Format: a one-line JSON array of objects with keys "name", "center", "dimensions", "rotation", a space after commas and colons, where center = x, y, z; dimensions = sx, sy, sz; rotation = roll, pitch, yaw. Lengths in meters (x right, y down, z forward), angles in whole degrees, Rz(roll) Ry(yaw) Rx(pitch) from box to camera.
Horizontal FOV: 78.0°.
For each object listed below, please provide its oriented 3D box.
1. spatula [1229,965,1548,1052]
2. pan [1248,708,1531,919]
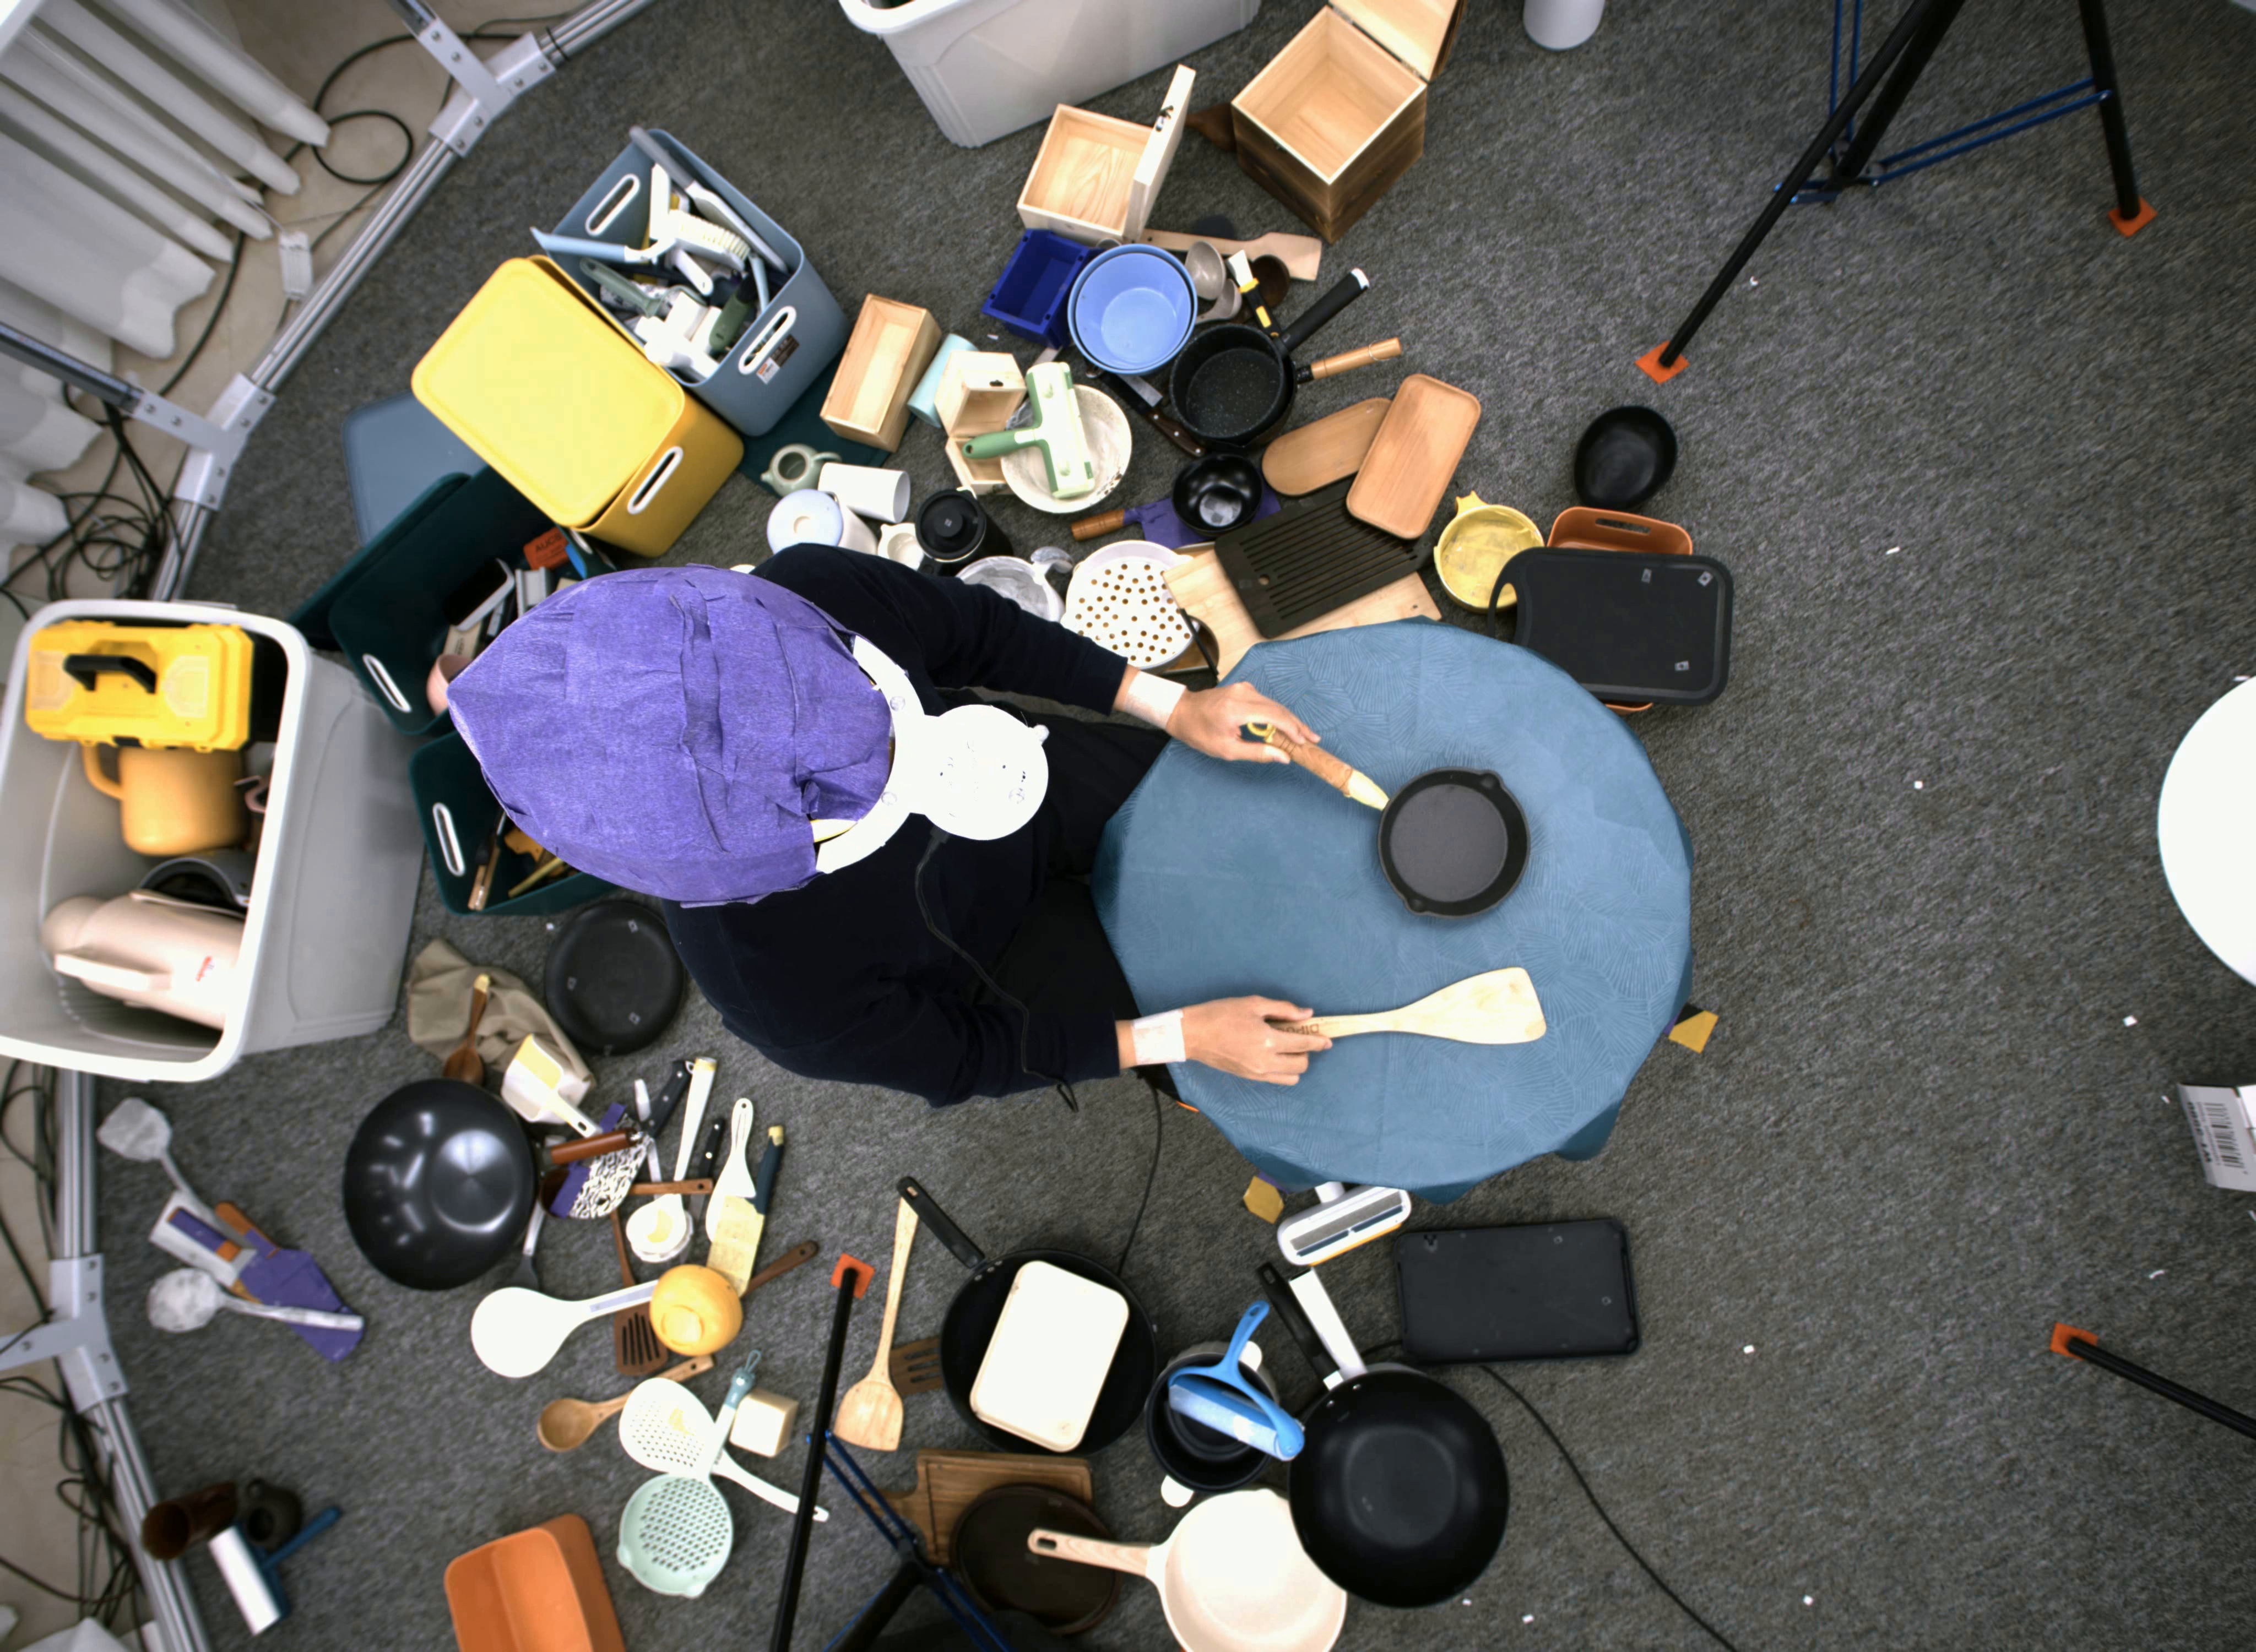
[{"name": "spatula", "center": [0.267, 0.200, 1.435], "dimensions": [0.328, 0.016, 0.079], "rotation": [-7, 84, 3]}, {"name": "pan", "center": [0.263, -0.030, 1.418], "dimensions": [0.324, 0.049, 0.169], "rotation": [33, 93, -1]}]
